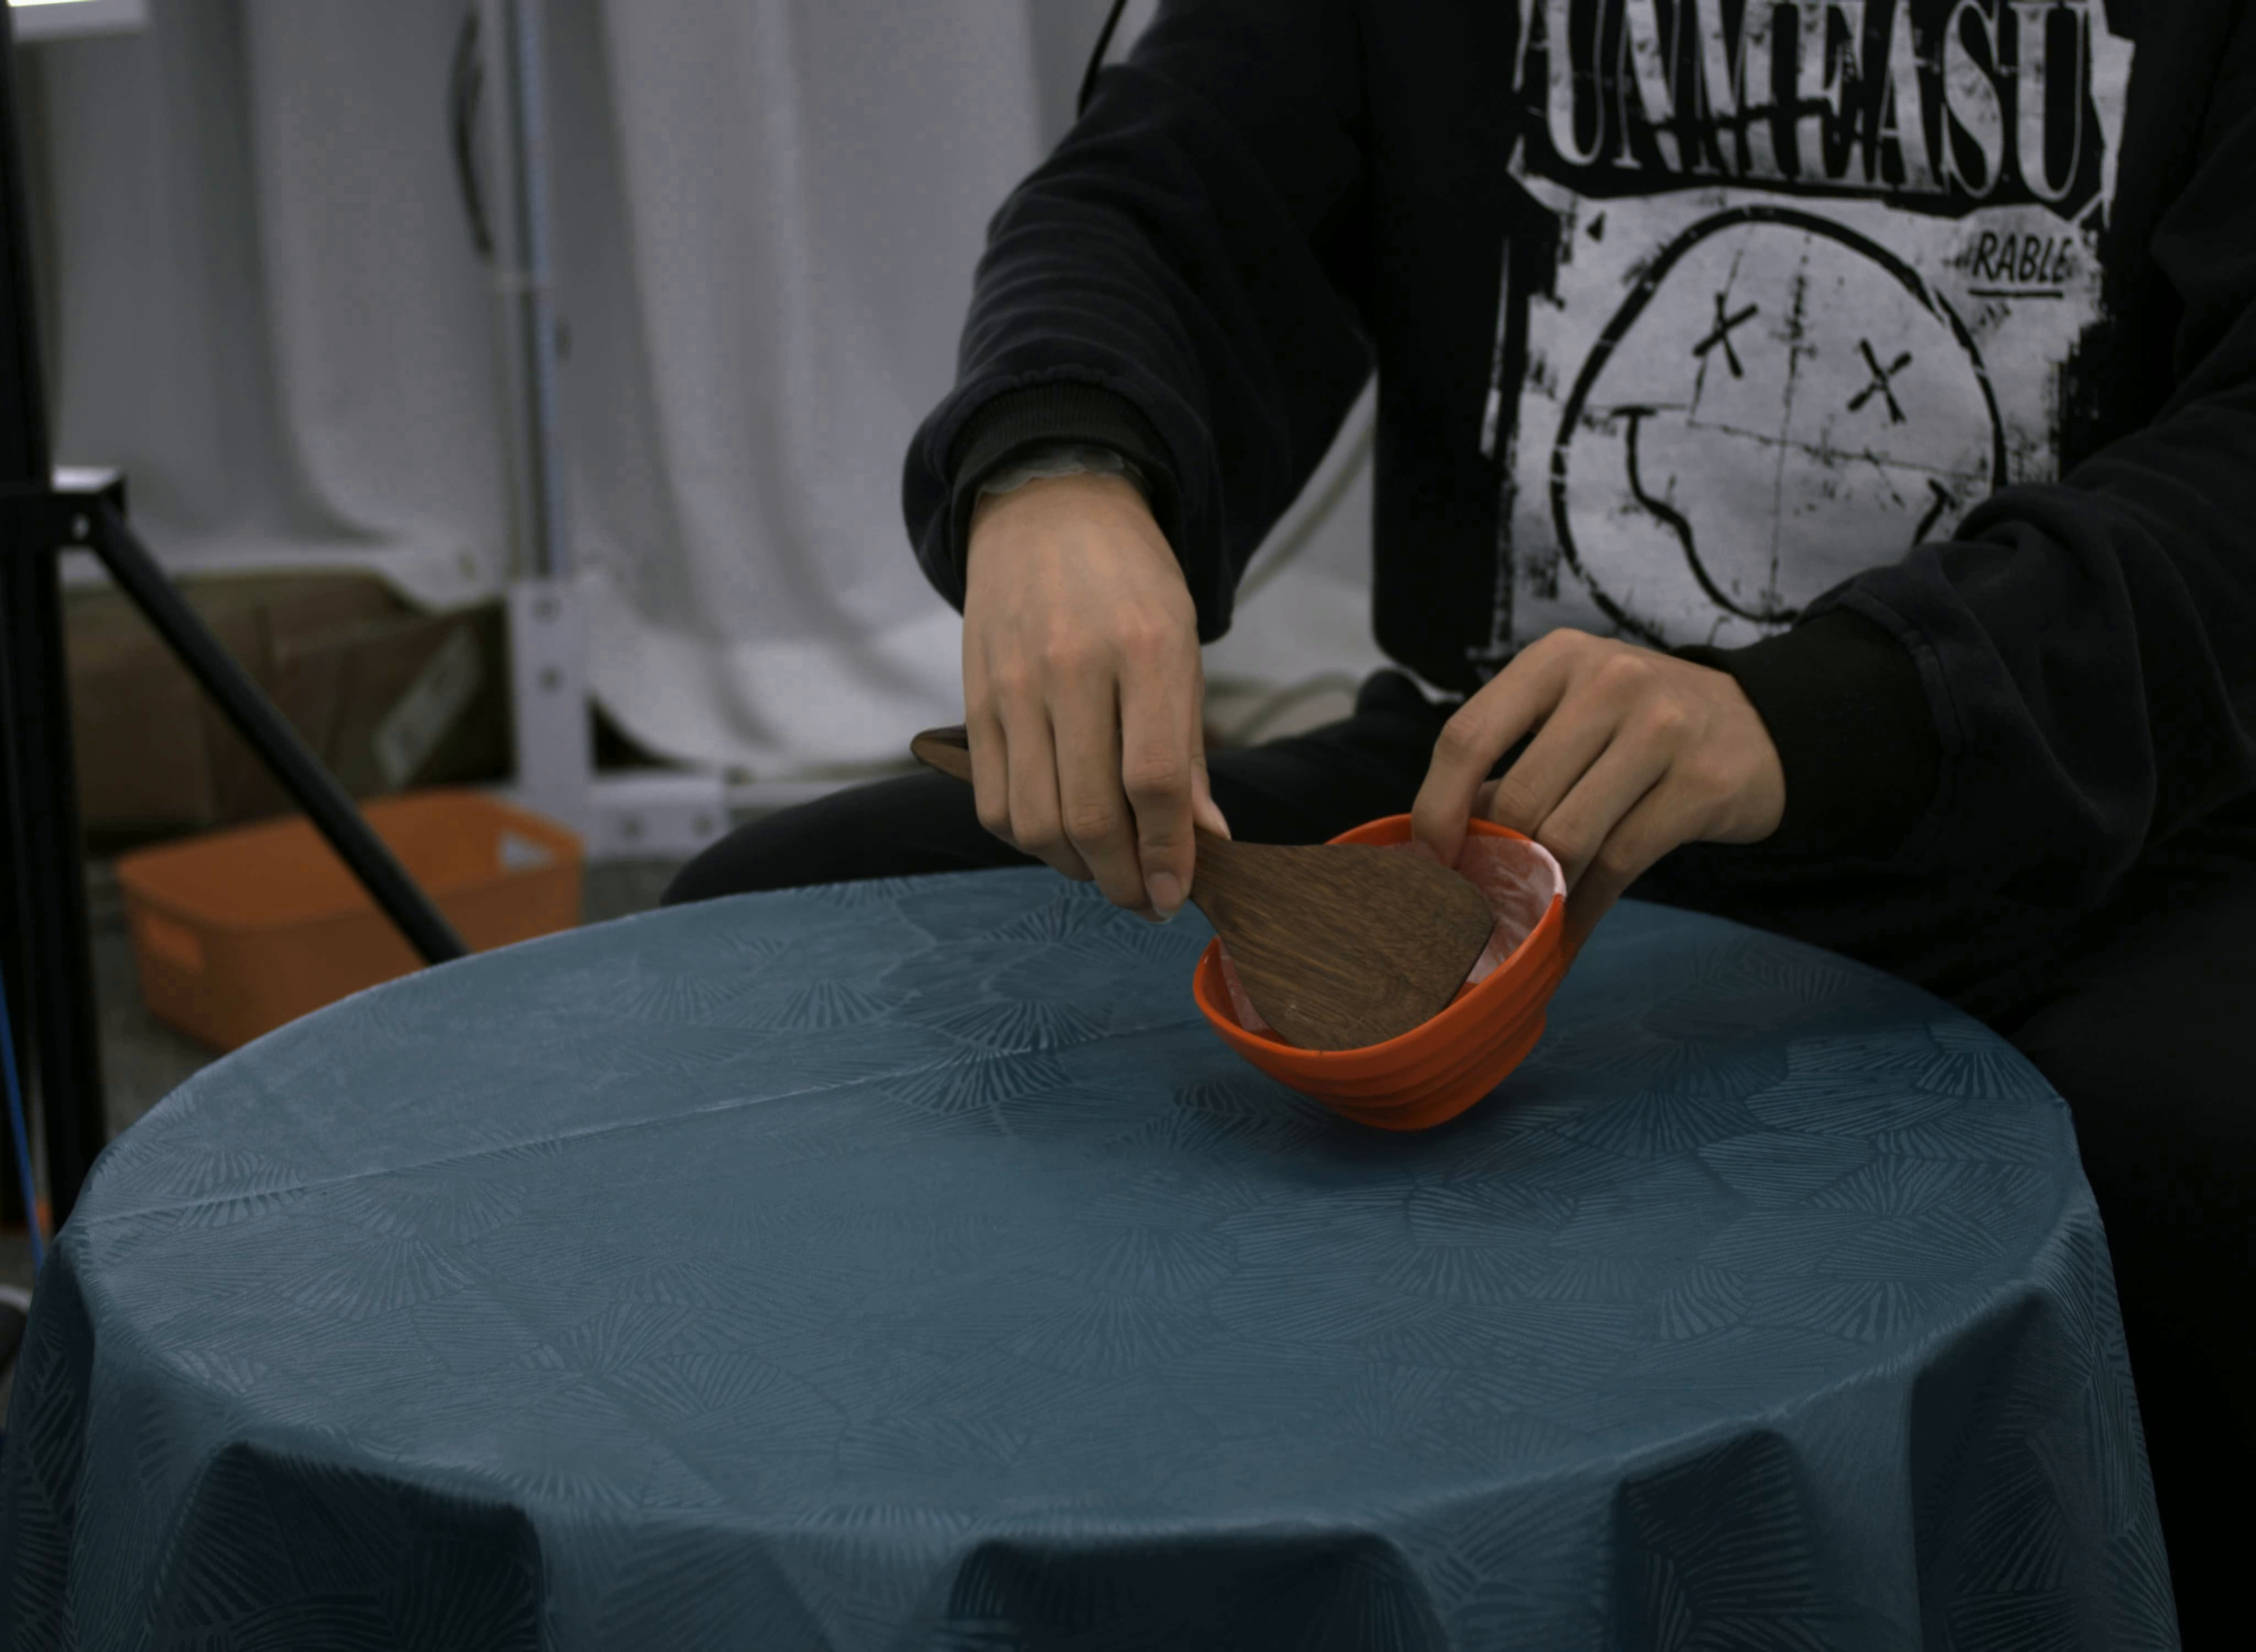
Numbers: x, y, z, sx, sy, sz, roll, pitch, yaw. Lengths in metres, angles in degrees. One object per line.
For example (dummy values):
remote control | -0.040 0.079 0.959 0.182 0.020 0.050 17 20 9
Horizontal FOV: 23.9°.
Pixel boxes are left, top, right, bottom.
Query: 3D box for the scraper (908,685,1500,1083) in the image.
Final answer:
scraper | 0.017 0.009 1.629 0.215 0.010 0.075 29 73 31

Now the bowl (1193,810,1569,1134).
bowl | 0.084 0.051 1.611 0.119 0.050 0.120 -20 33 11
